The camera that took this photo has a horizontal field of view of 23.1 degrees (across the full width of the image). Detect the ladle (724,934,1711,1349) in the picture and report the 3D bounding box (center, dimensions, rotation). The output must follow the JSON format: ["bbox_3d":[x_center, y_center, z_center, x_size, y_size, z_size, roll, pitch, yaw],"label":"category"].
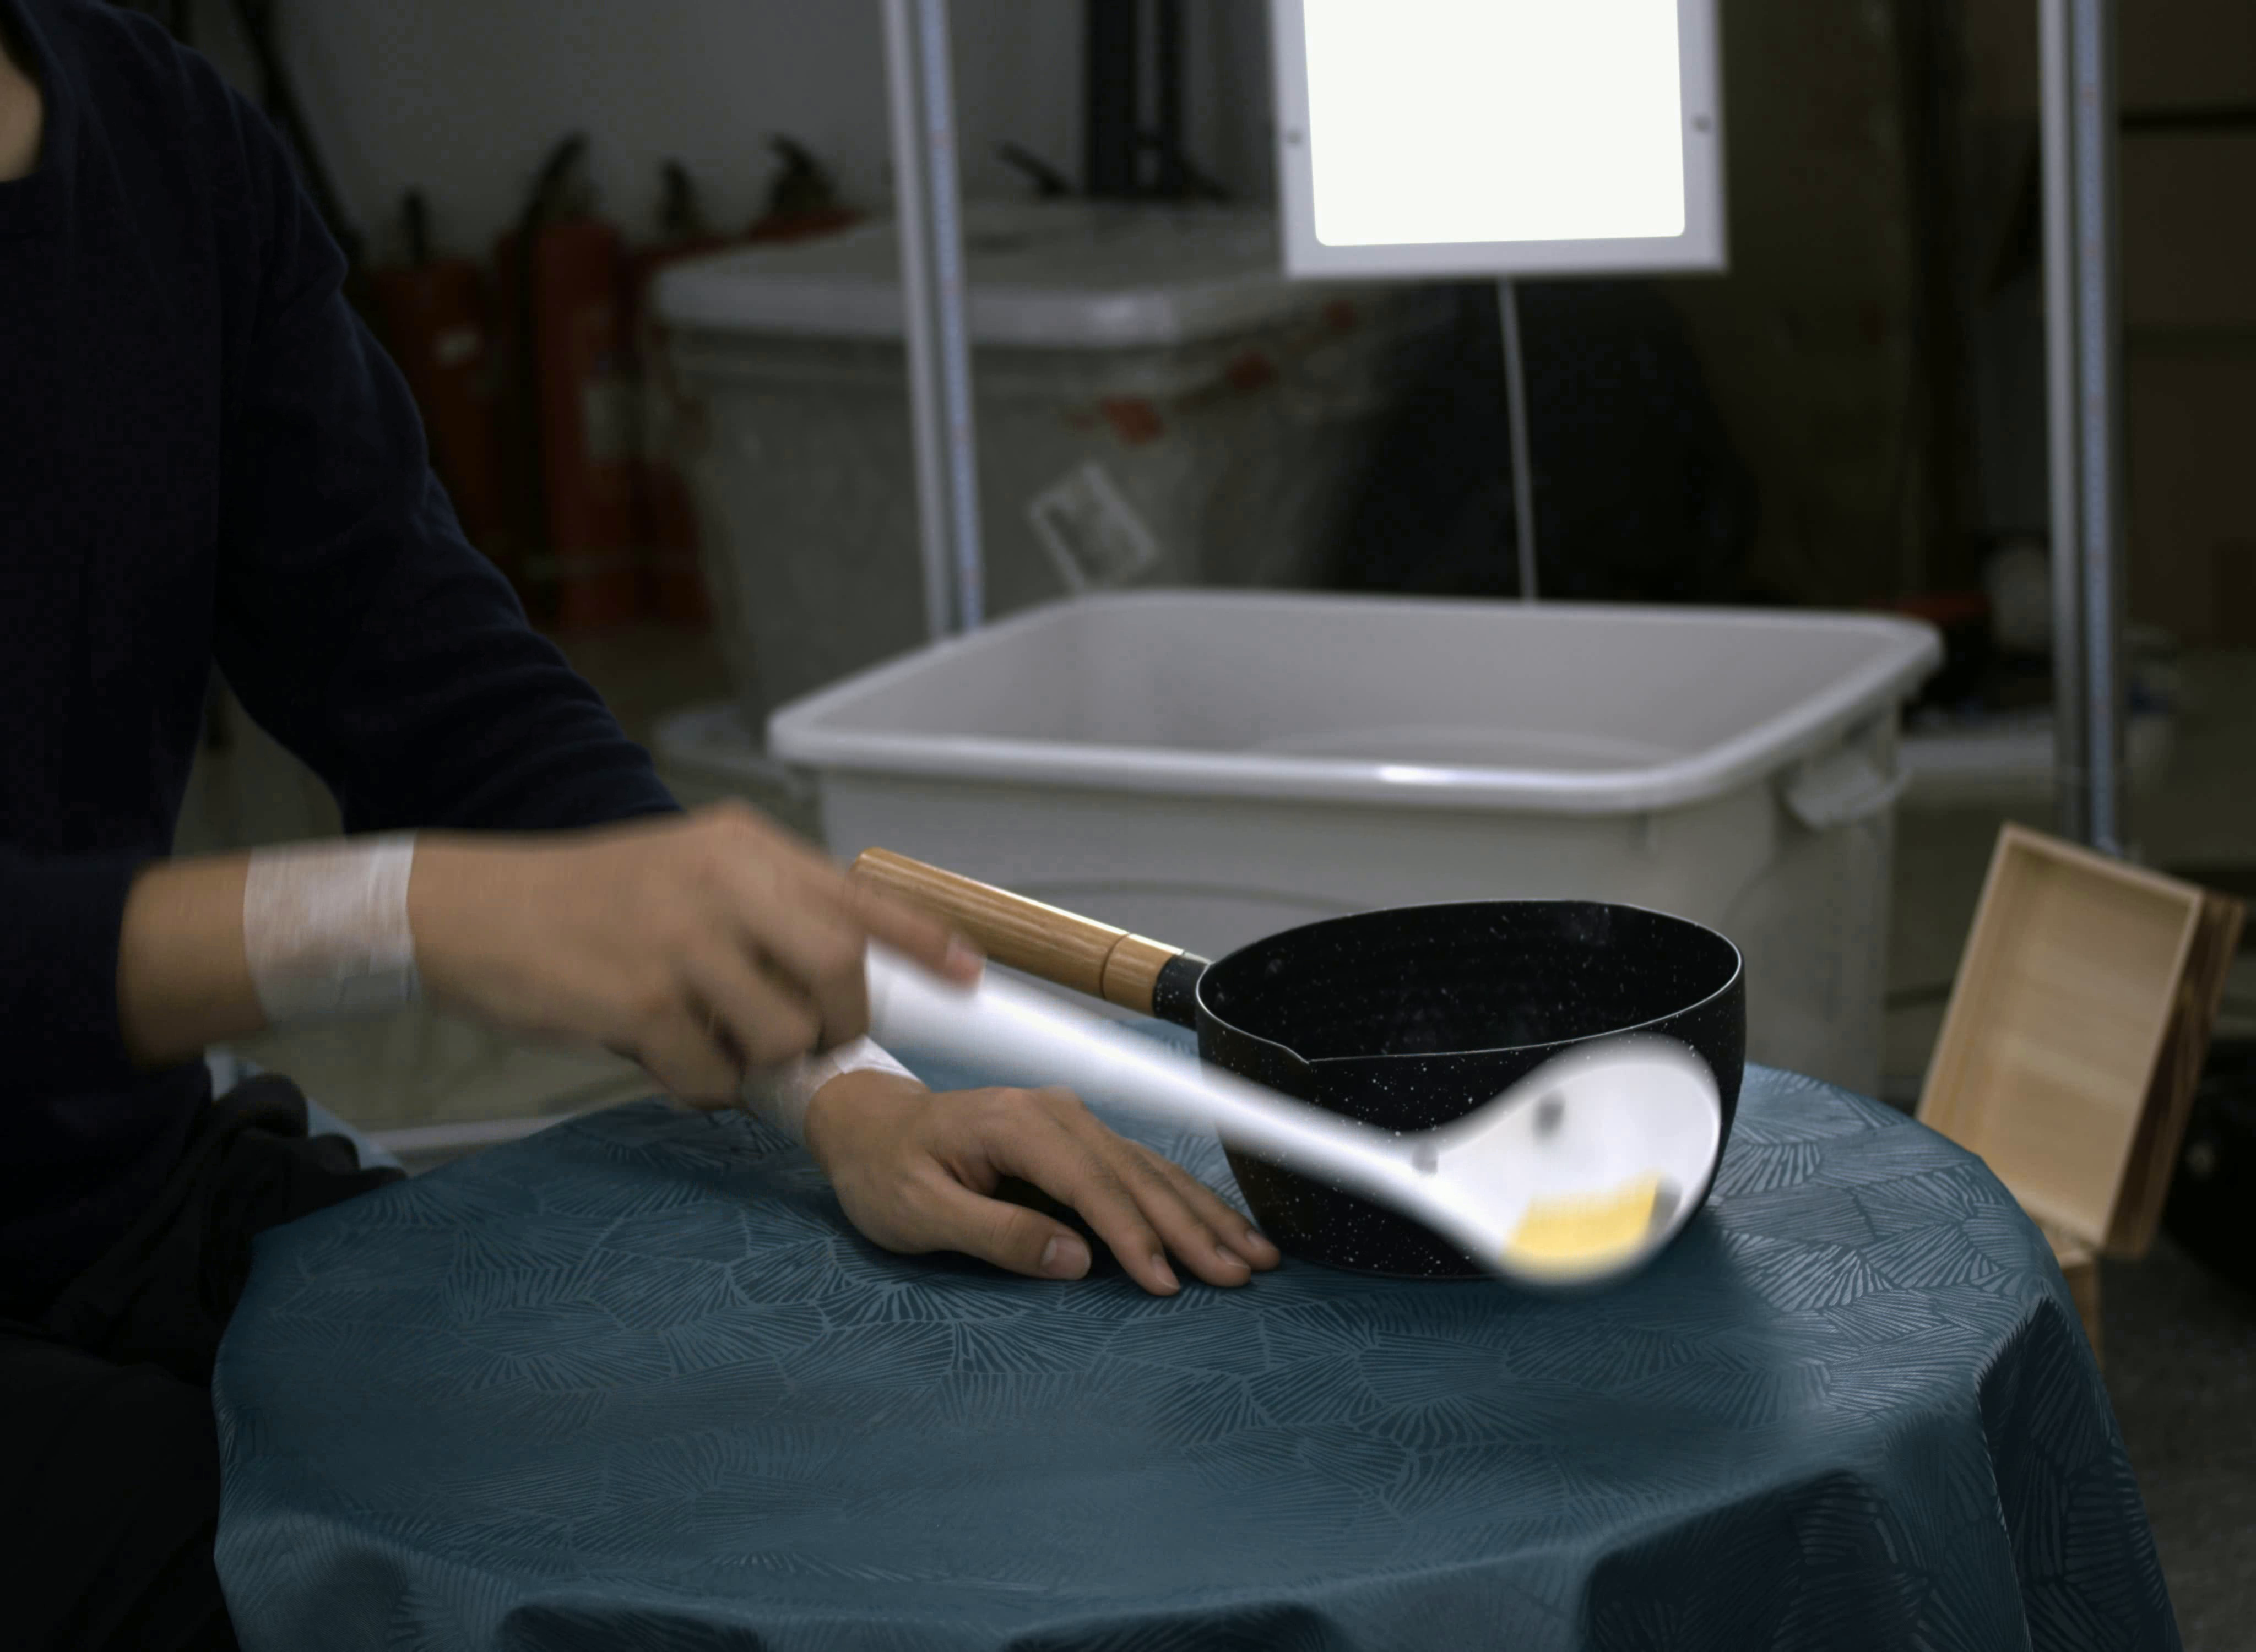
[{"bbox_3d":[0.025,0.083,1.626,0.293,0.071,0.089,19,55,2],"label":"ladle"}]

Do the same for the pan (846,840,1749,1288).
[{"bbox_3d":[0.048,0.072,1.874,0.349,0.108,0.202,5,18,33],"label":"pan"}]
